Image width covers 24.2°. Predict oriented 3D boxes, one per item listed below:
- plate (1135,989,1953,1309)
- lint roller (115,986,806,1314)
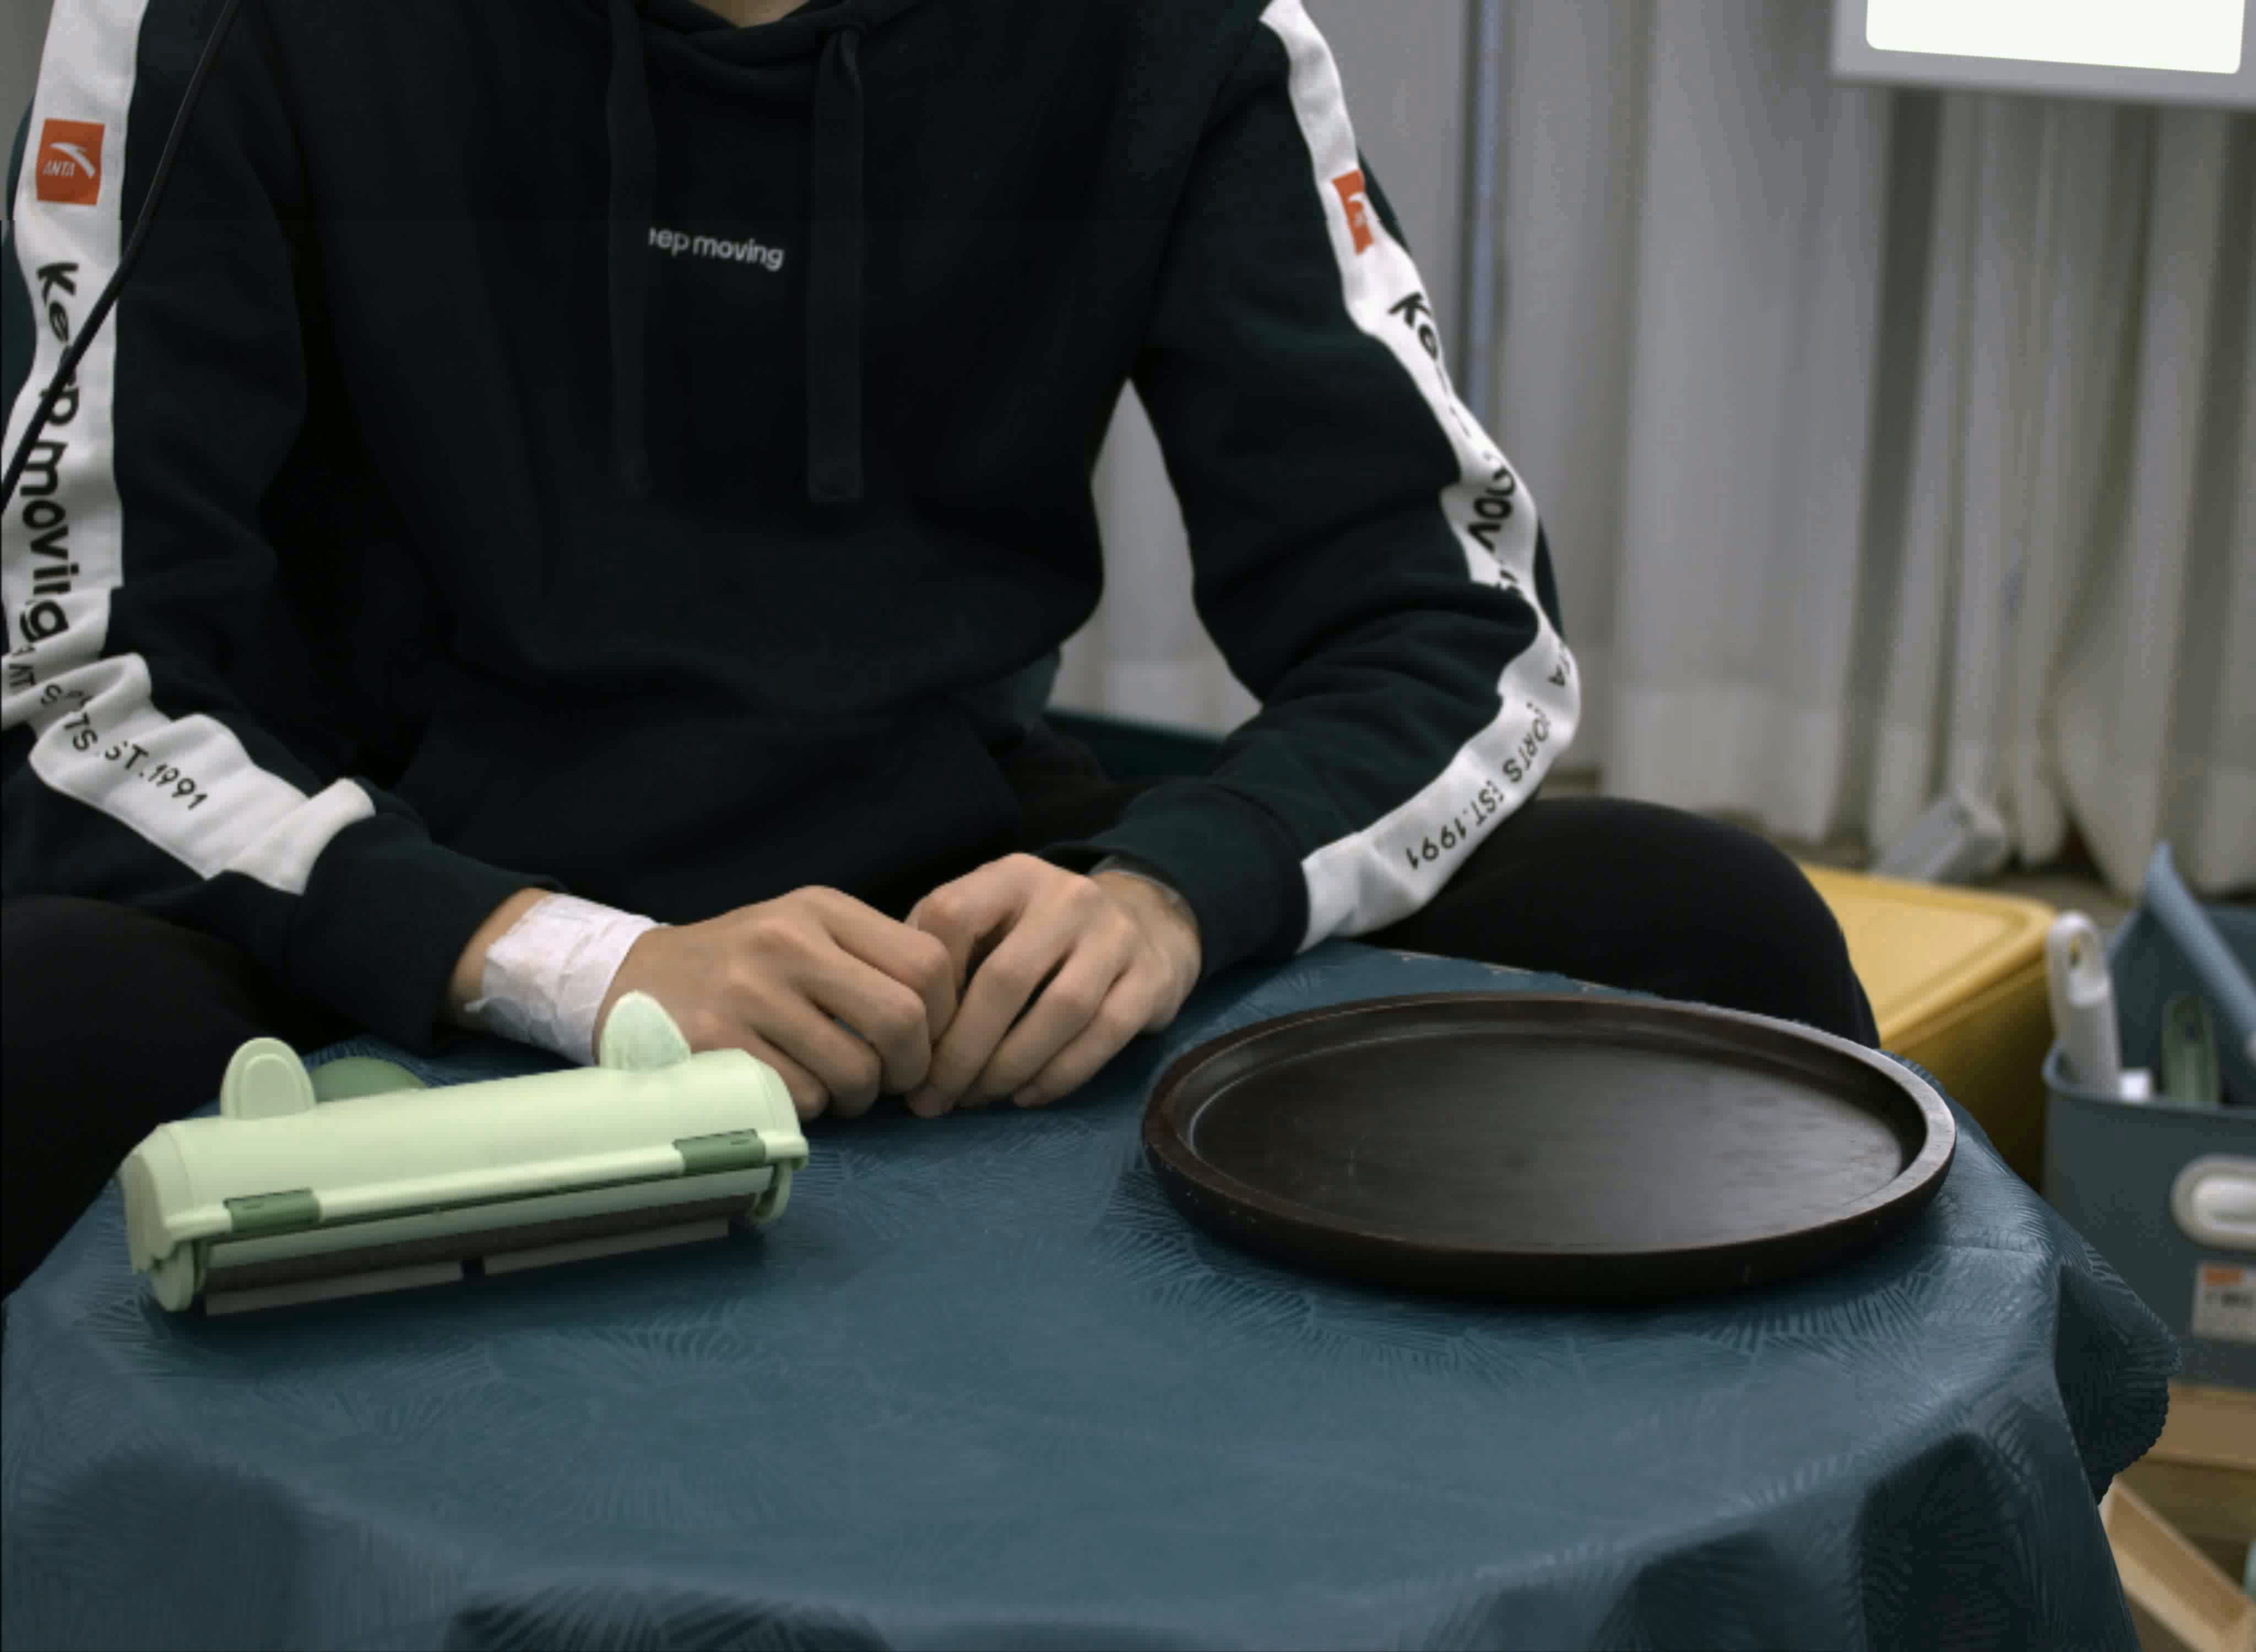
[{"bbox_3d":[0.128,0.098,1.630,0.254,0.029,0.253,-1,16,1],"label":"plate"},{"bbox_3d":[-0.217,0.079,1.582,0.199,0.083,0.181,-7,21,-24],"label":"lint roller"}]
